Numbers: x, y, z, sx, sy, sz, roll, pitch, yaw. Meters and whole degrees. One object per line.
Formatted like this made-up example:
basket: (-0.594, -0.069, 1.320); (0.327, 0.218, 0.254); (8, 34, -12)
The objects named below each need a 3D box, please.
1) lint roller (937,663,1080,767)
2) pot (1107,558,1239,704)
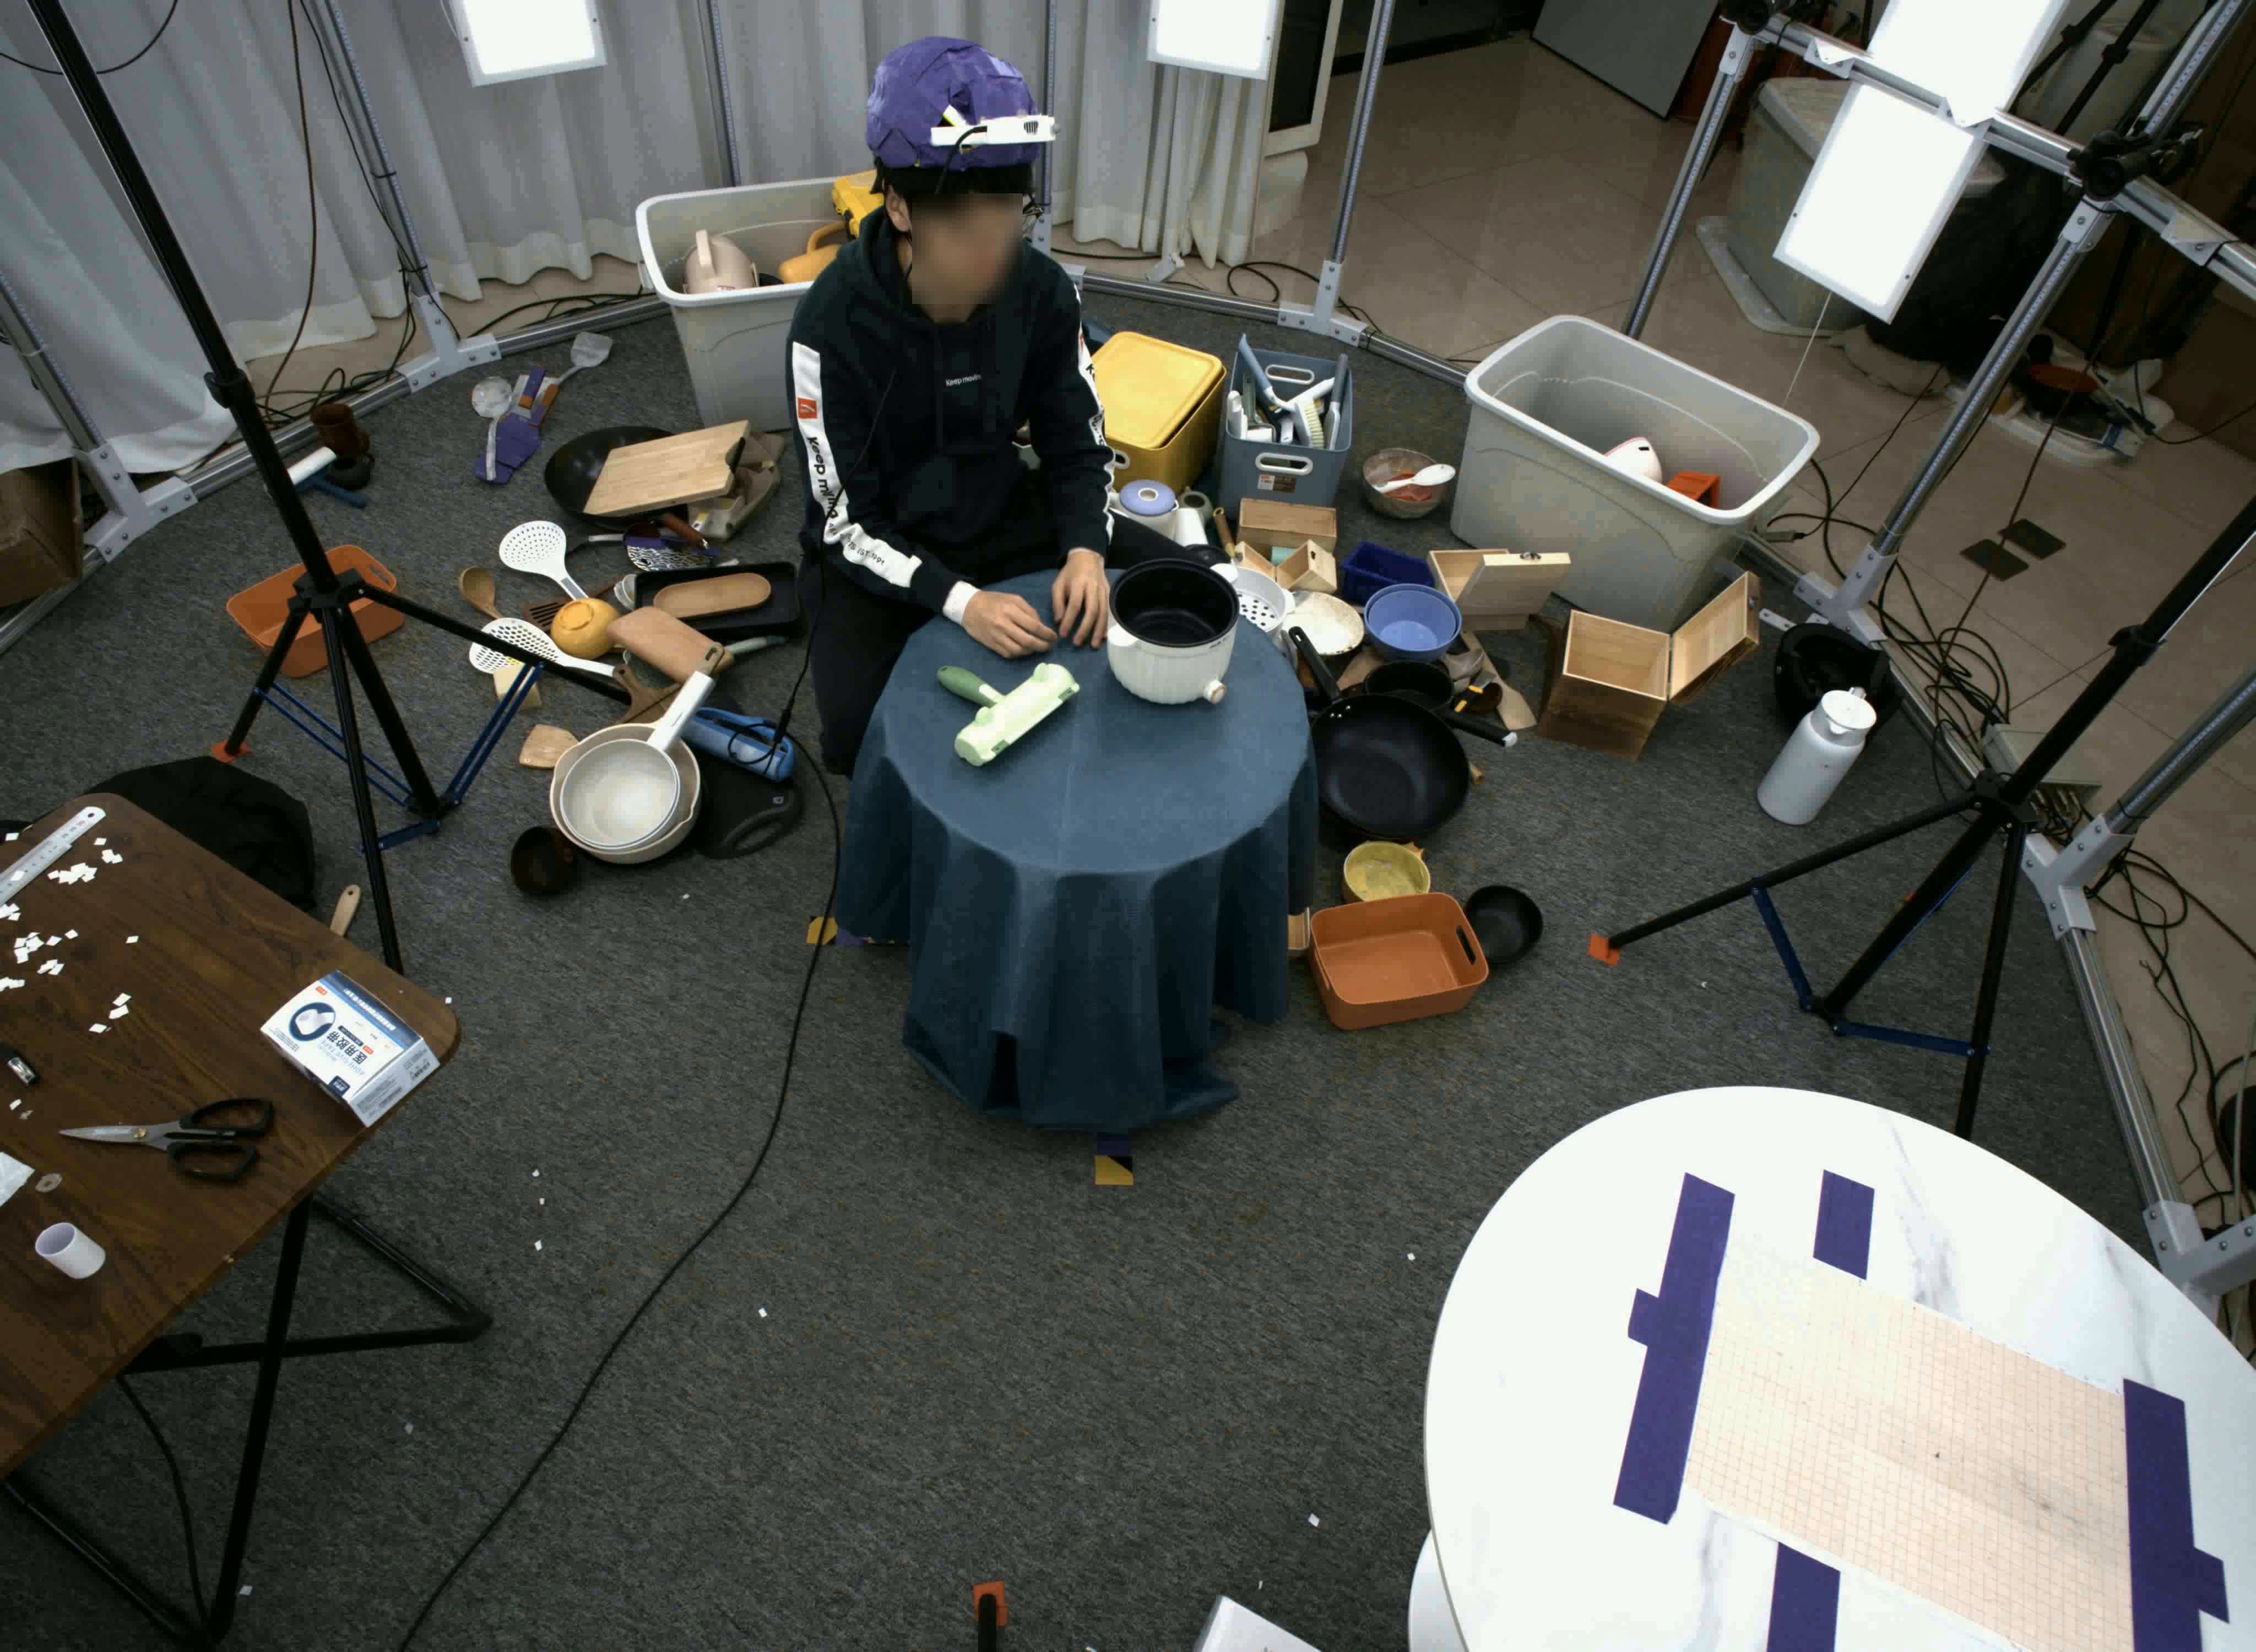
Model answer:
lint roller: (-0.194, -0.190, 1.771); (0.185, 0.080, 0.201); (36, 57, 19)
pot: (0.064, -0.266, 1.814); (0.242, 0.139, 0.193); (-36, 57, -28)
